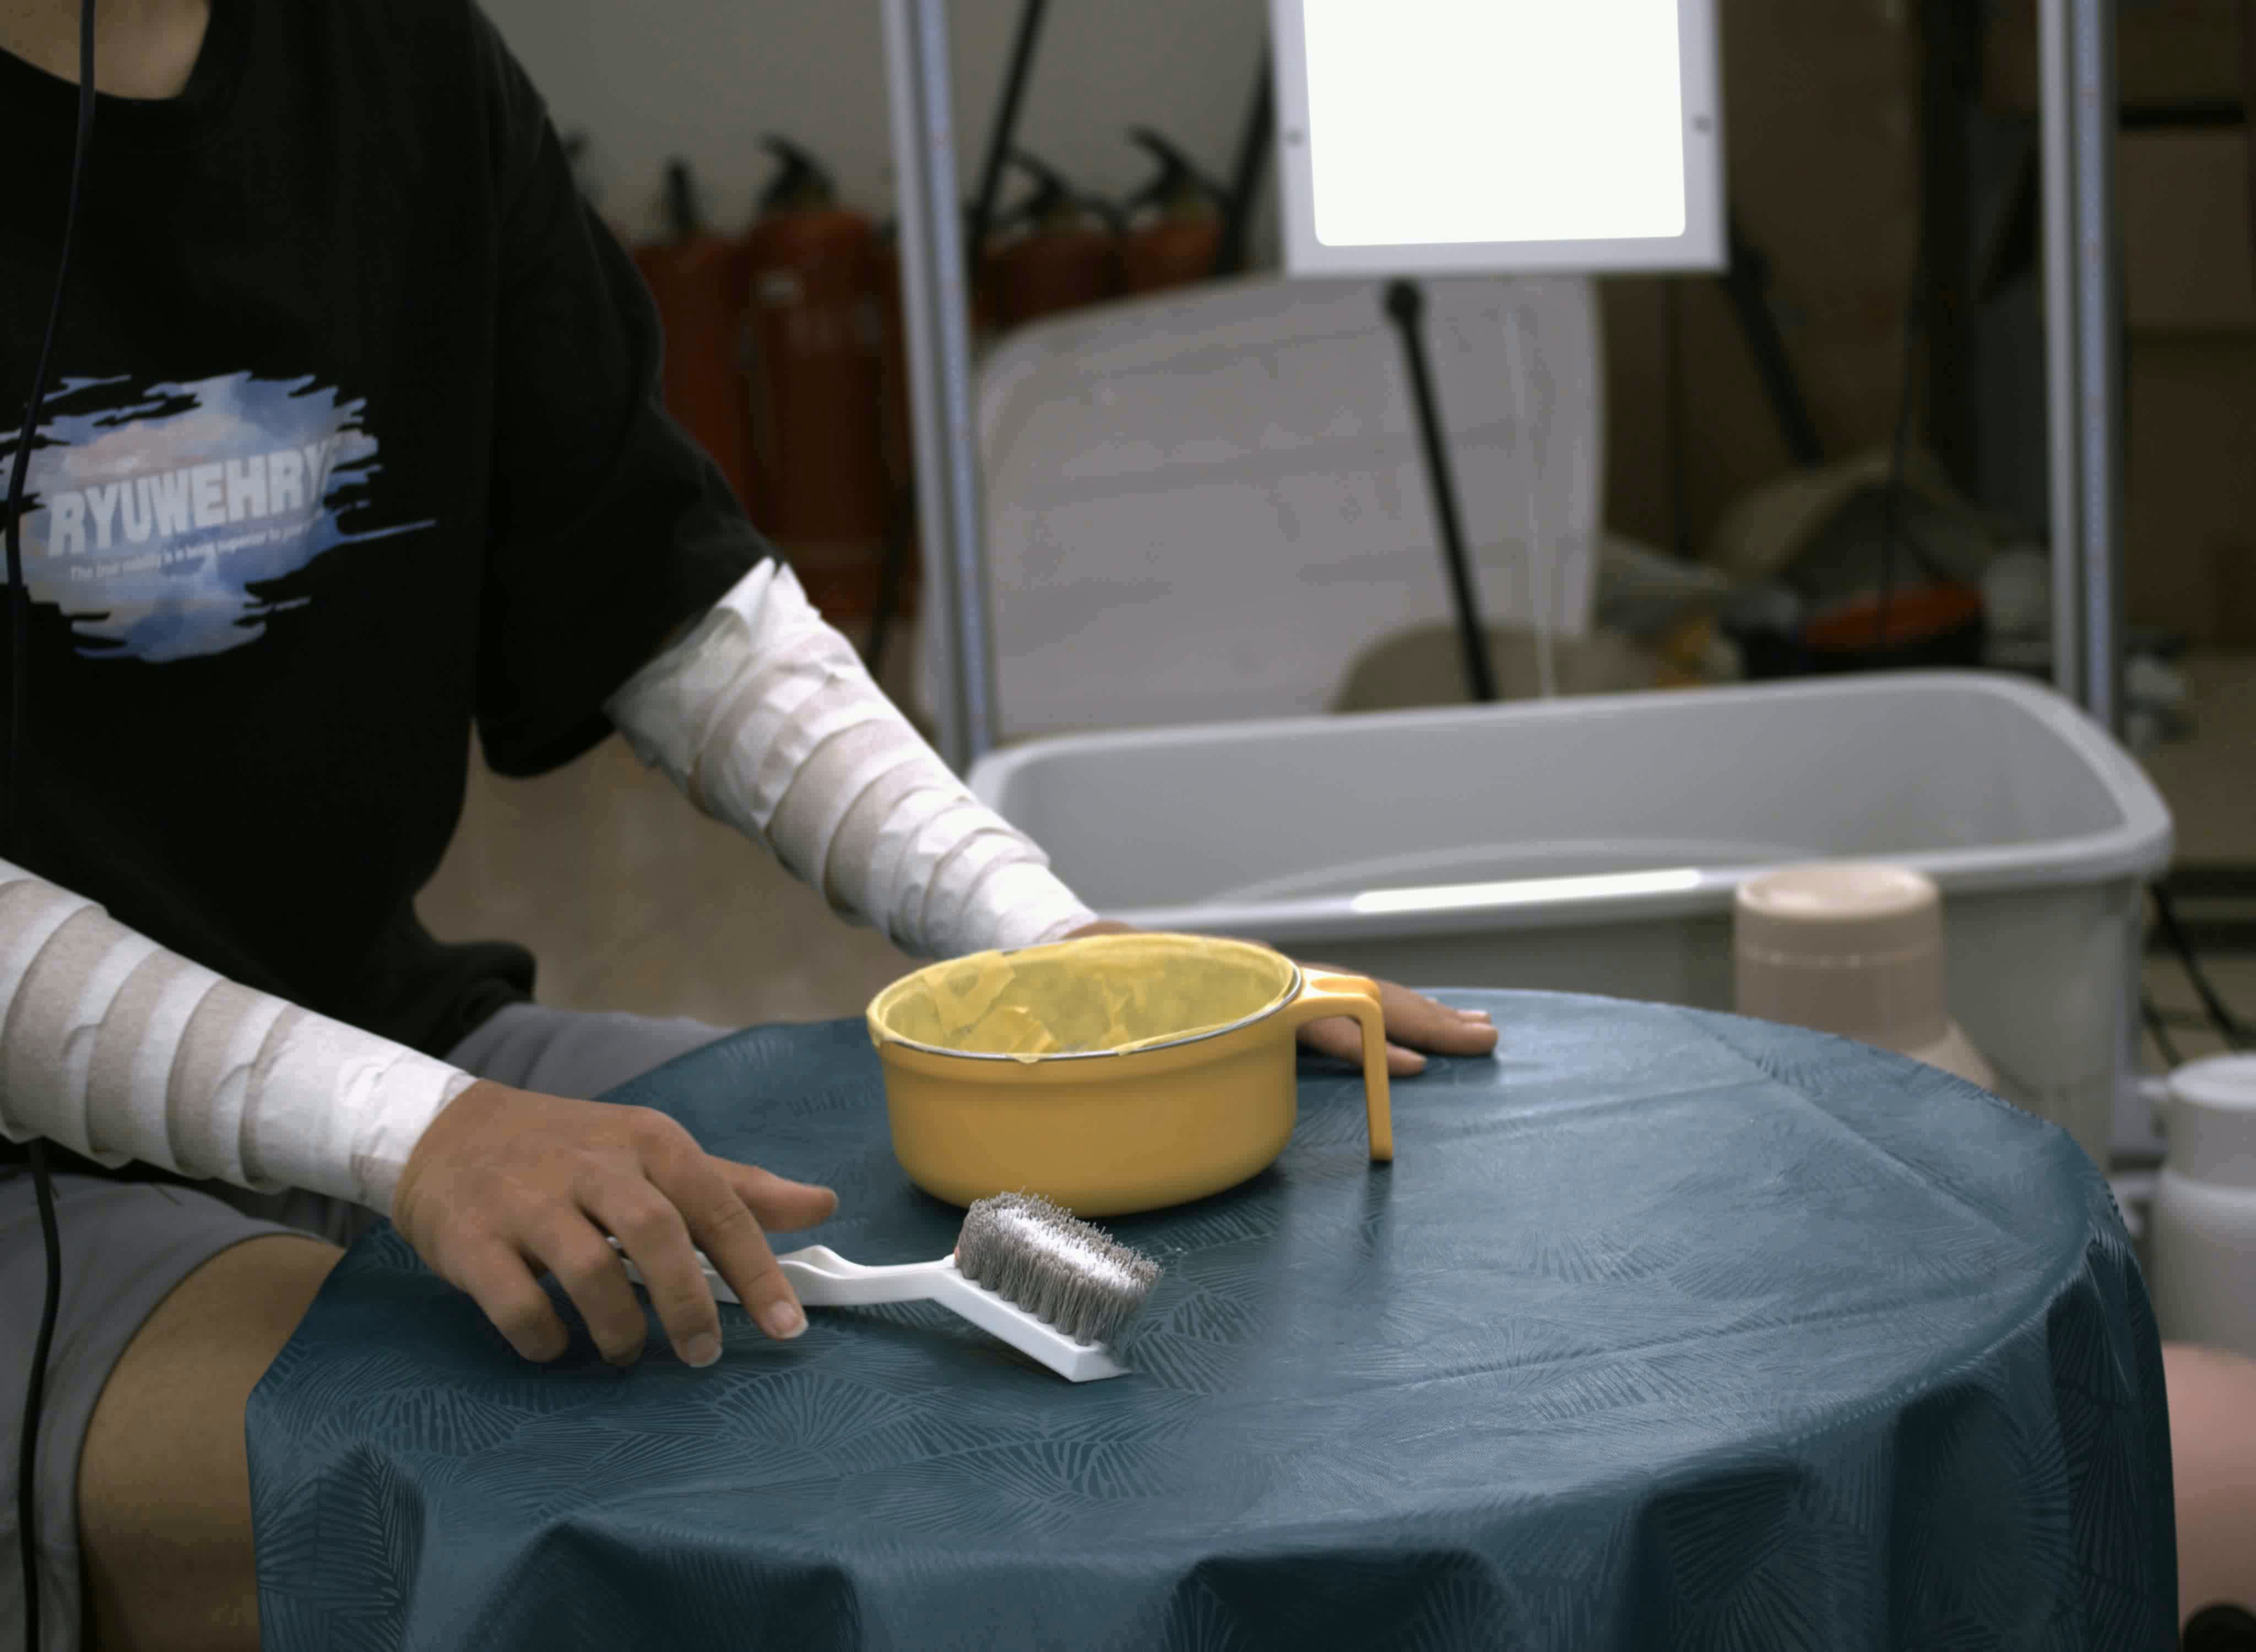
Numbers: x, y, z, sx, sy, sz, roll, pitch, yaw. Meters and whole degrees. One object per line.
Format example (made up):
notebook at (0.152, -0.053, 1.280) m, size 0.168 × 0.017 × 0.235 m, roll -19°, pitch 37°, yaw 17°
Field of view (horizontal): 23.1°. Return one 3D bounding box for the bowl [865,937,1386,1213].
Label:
bowl at (0.000, 0.088, 1.911) m, size 0.179 × 0.074 × 0.152 m, roll -4°, pitch 9°, yaw 2°

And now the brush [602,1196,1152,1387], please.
brush at (-0.088, 0.135, 1.788) m, size 0.249 × 0.050 × 0.033 m, roll 9°, pitch 21°, yaw 44°
